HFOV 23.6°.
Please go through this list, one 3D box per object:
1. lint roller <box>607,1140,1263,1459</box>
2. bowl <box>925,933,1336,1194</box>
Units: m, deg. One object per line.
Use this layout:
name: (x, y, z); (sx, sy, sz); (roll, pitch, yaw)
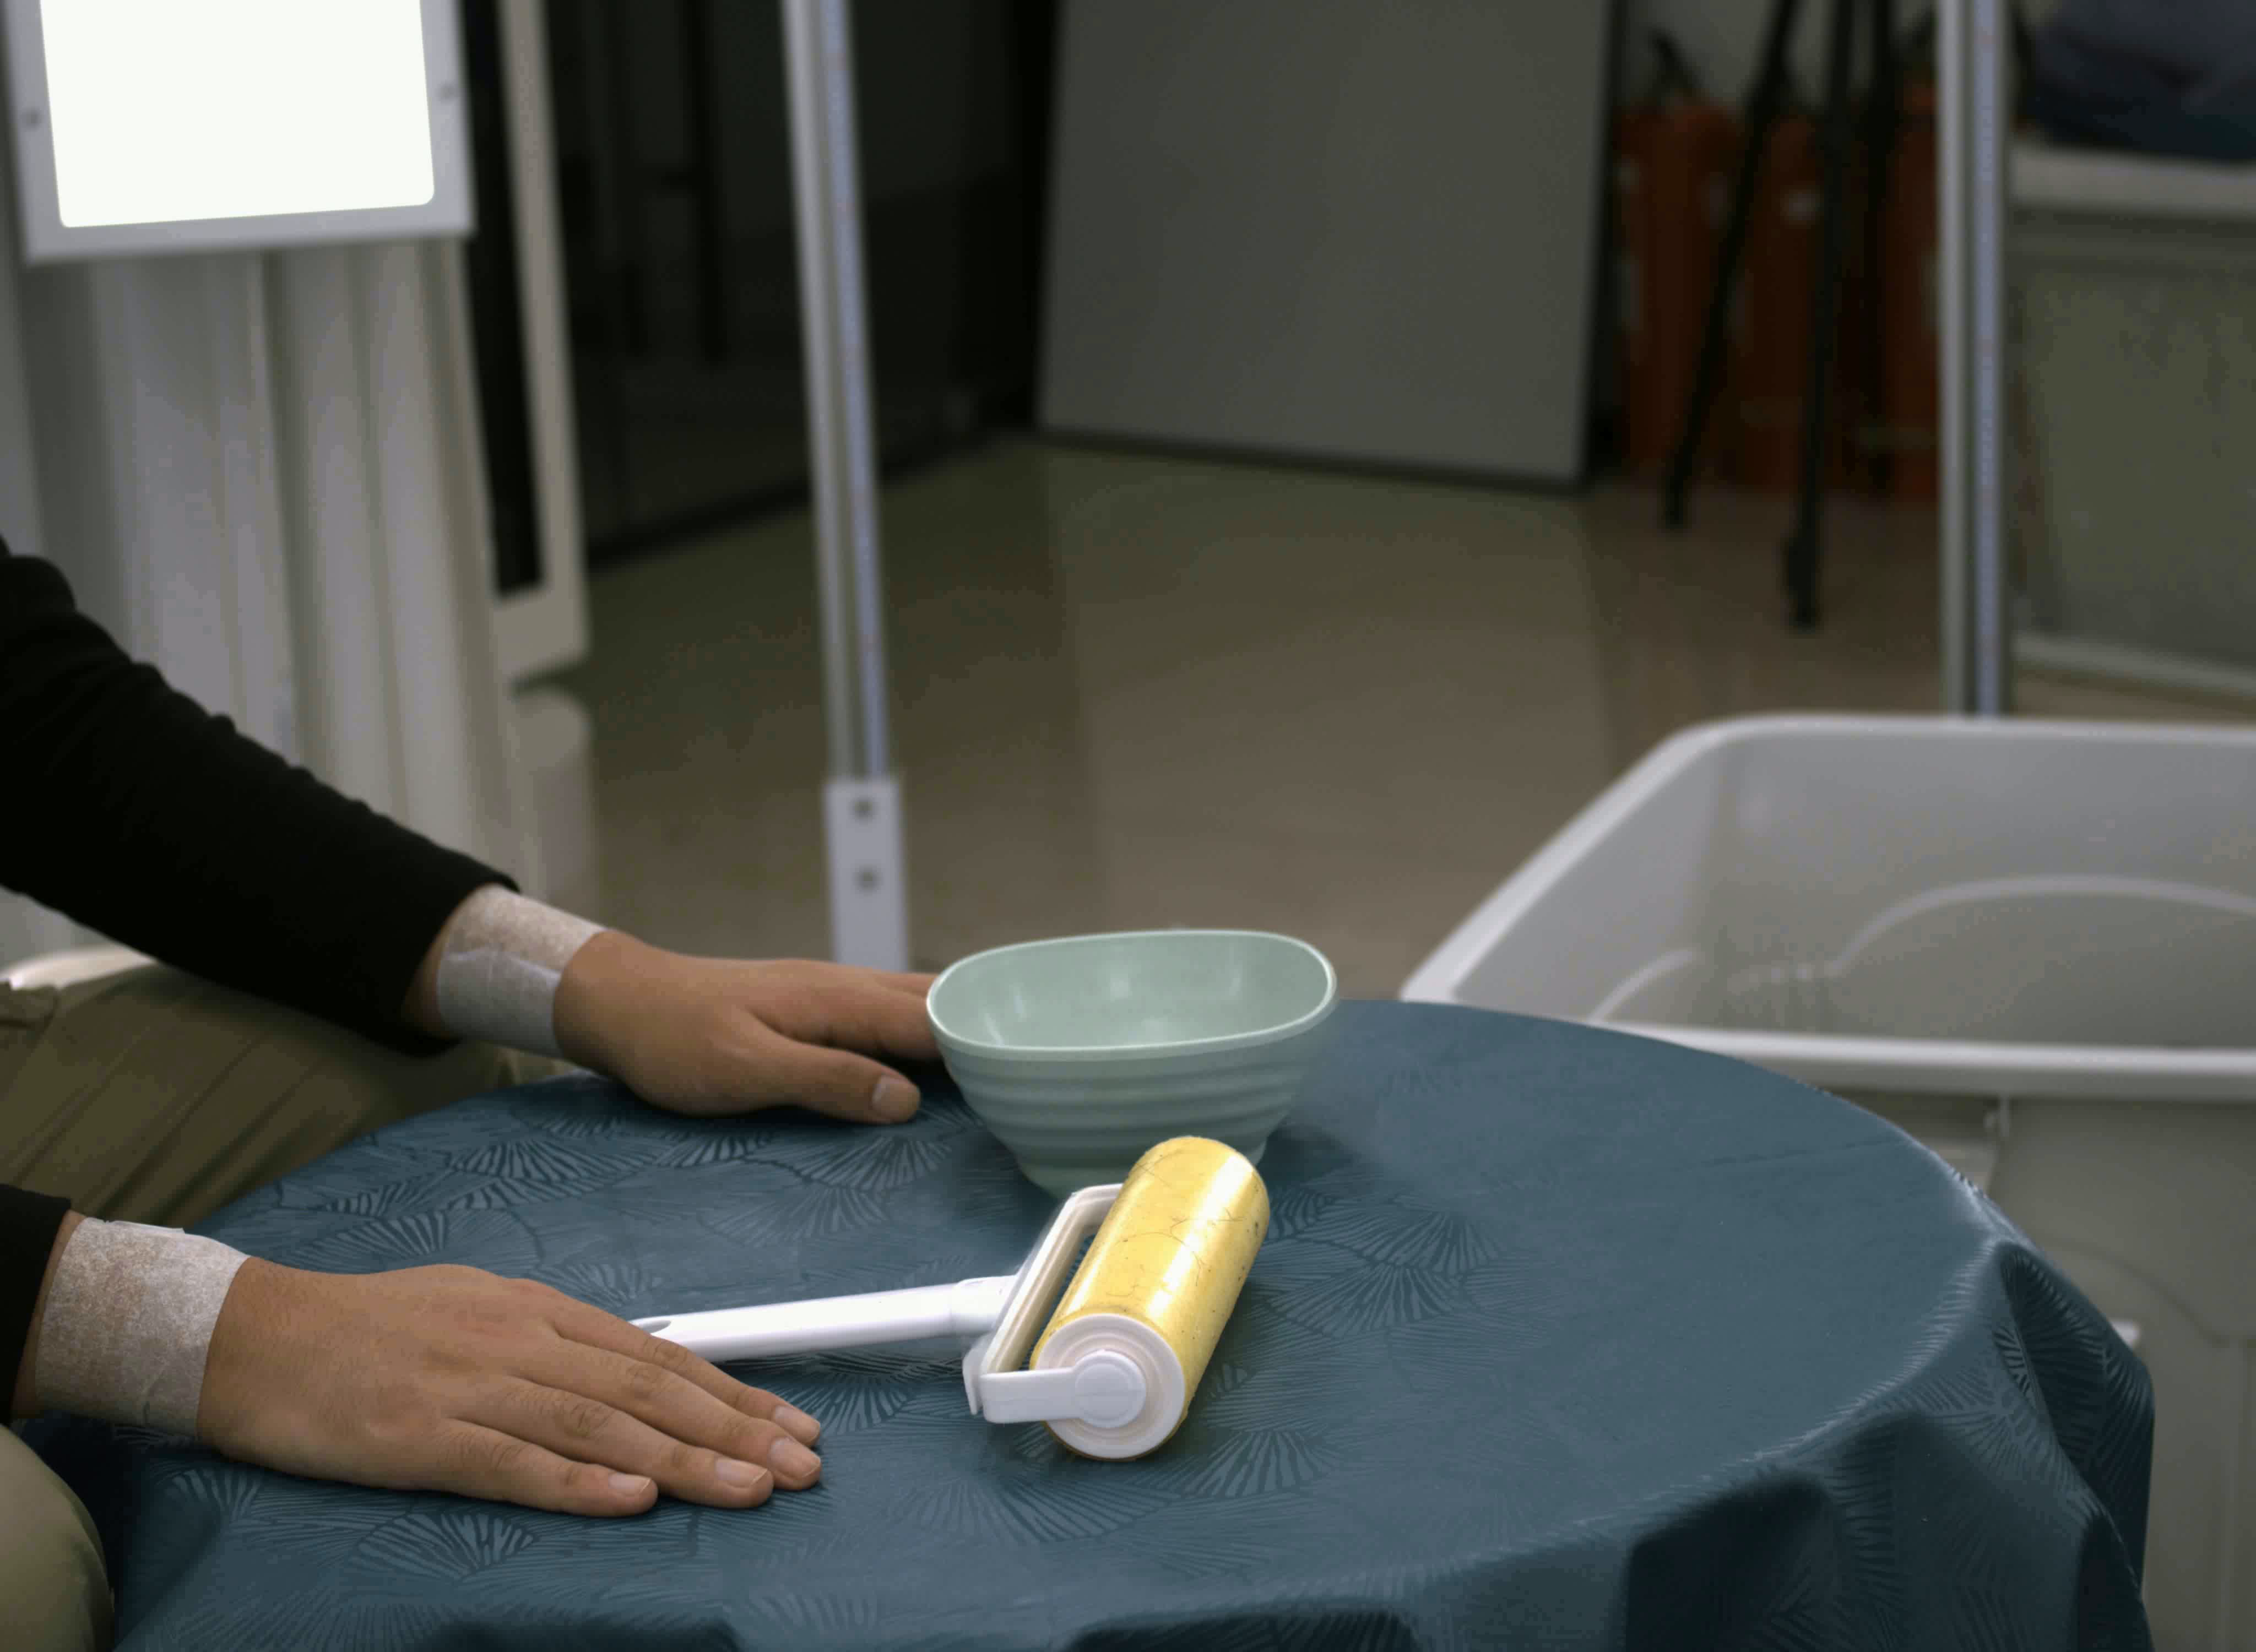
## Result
lint roller: (-0.062, 0.138, 1.610); (0.190, 0.052, 0.173); (2, 14, 8)
bowl: (0.002, 0.082, 1.807); (0.149, 0.059, 0.152); (-3, 14, 0)
